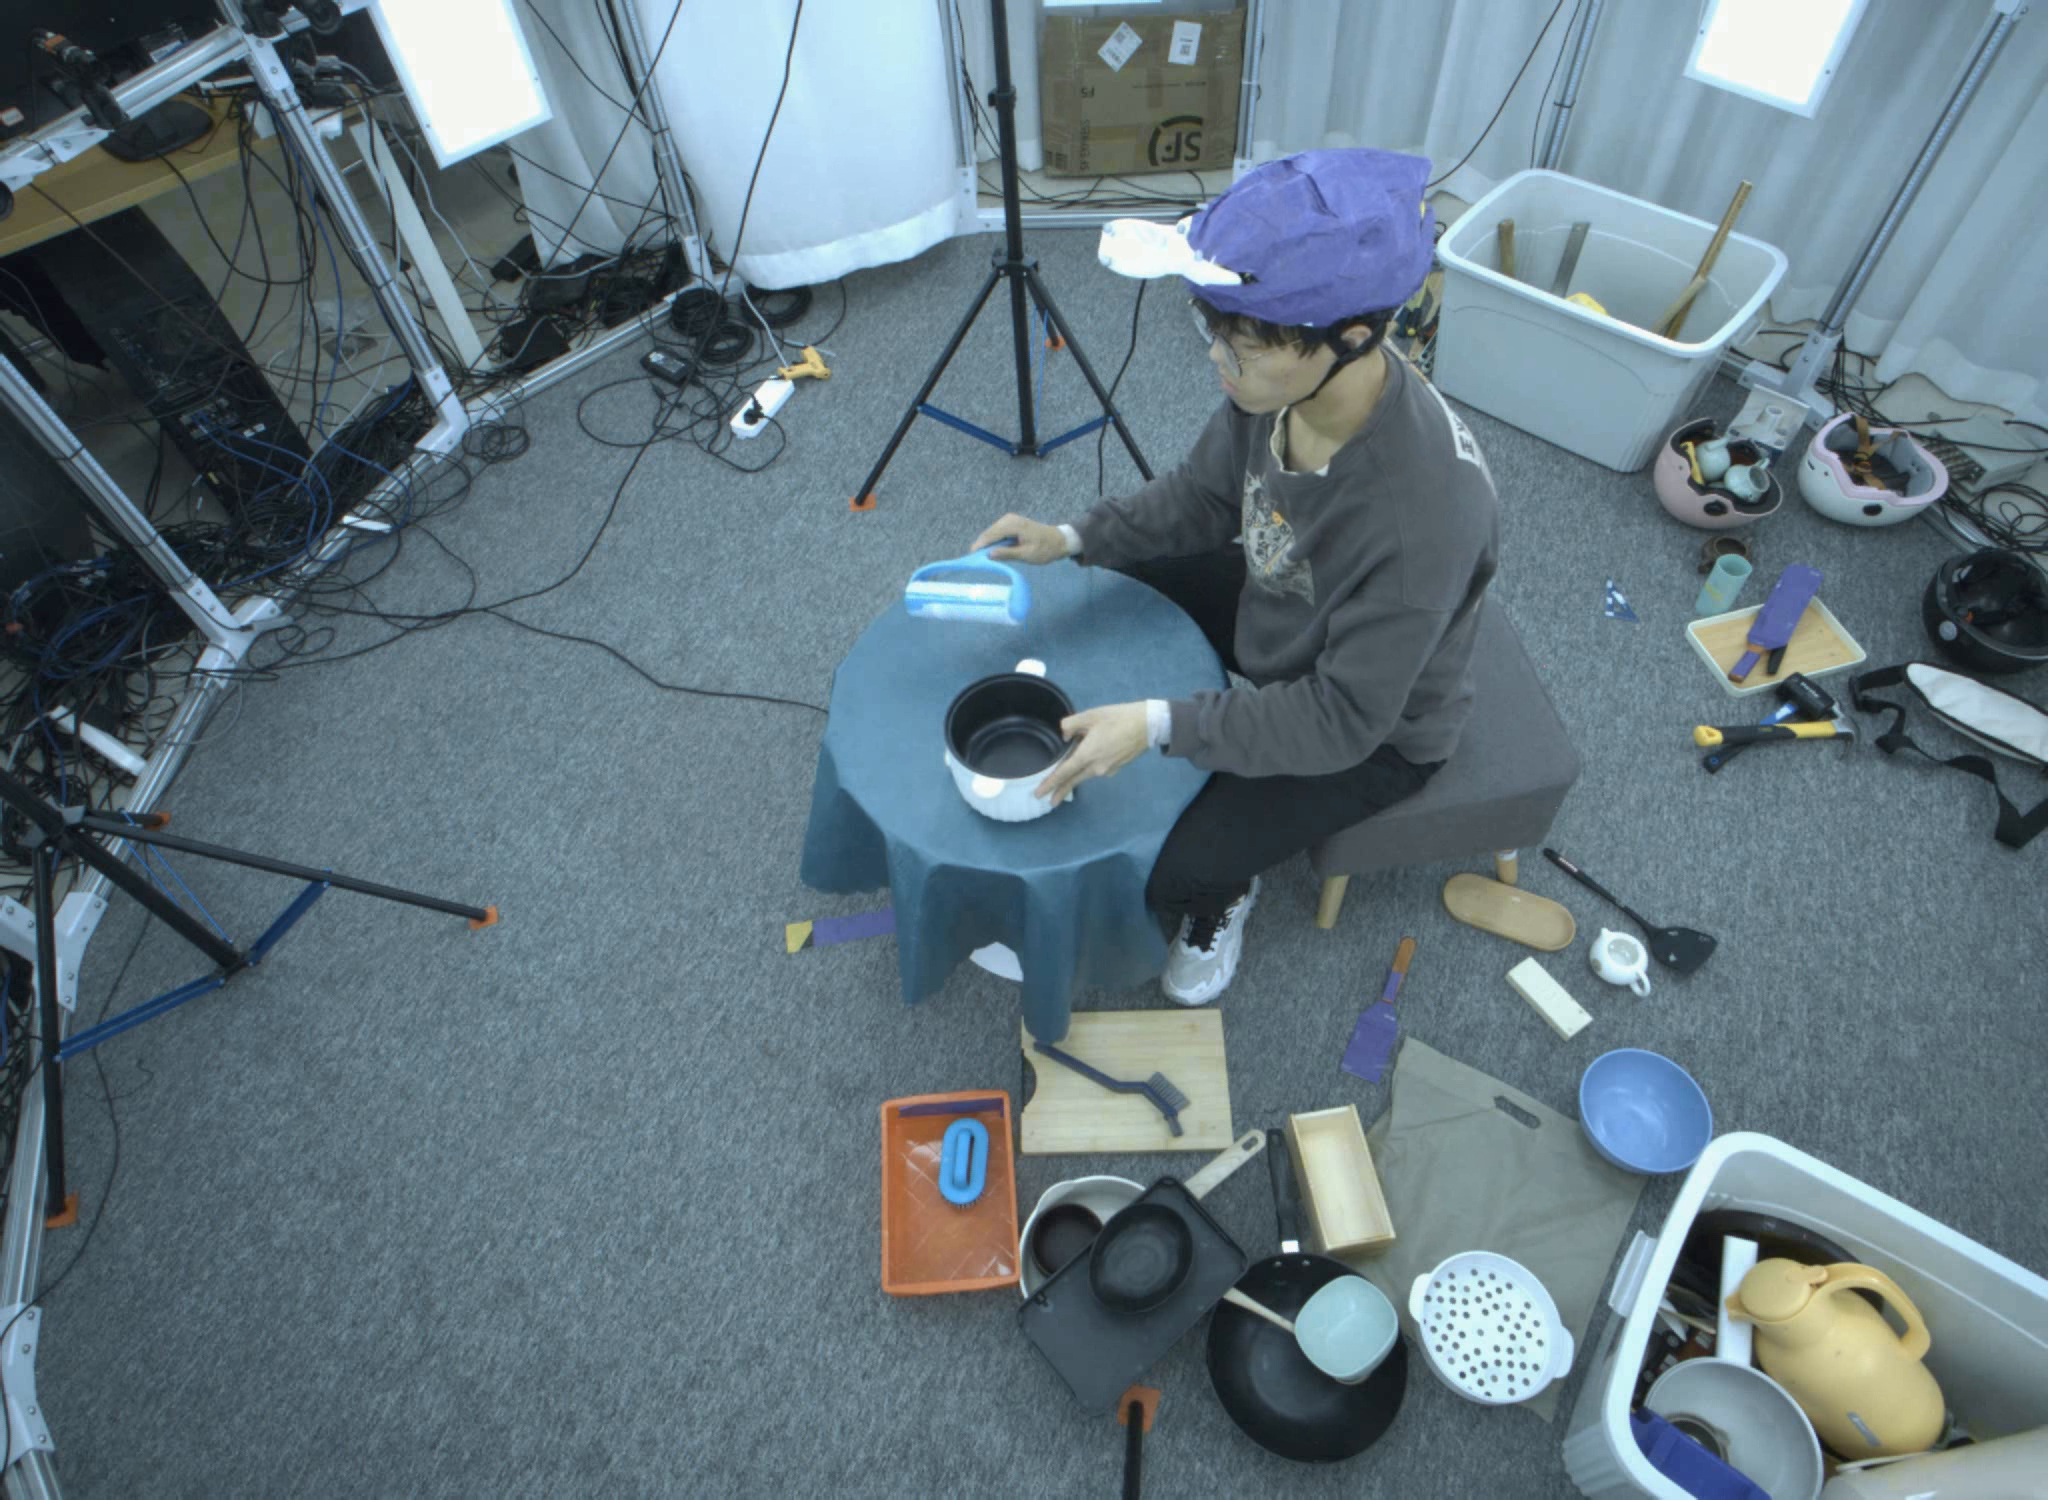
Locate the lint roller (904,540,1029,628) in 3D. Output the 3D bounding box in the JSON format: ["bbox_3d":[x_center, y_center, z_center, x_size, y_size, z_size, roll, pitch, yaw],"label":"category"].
[{"bbox_3d":[-0.061,-0.259,1.796,0.224,0.069,0.180,8,57,37],"label":"lint roller"}]

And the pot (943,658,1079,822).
[{"bbox_3d":[-0.020,0.003,1.697,0.189,0.144,0.239,13,54,8],"label":"pot"}]
